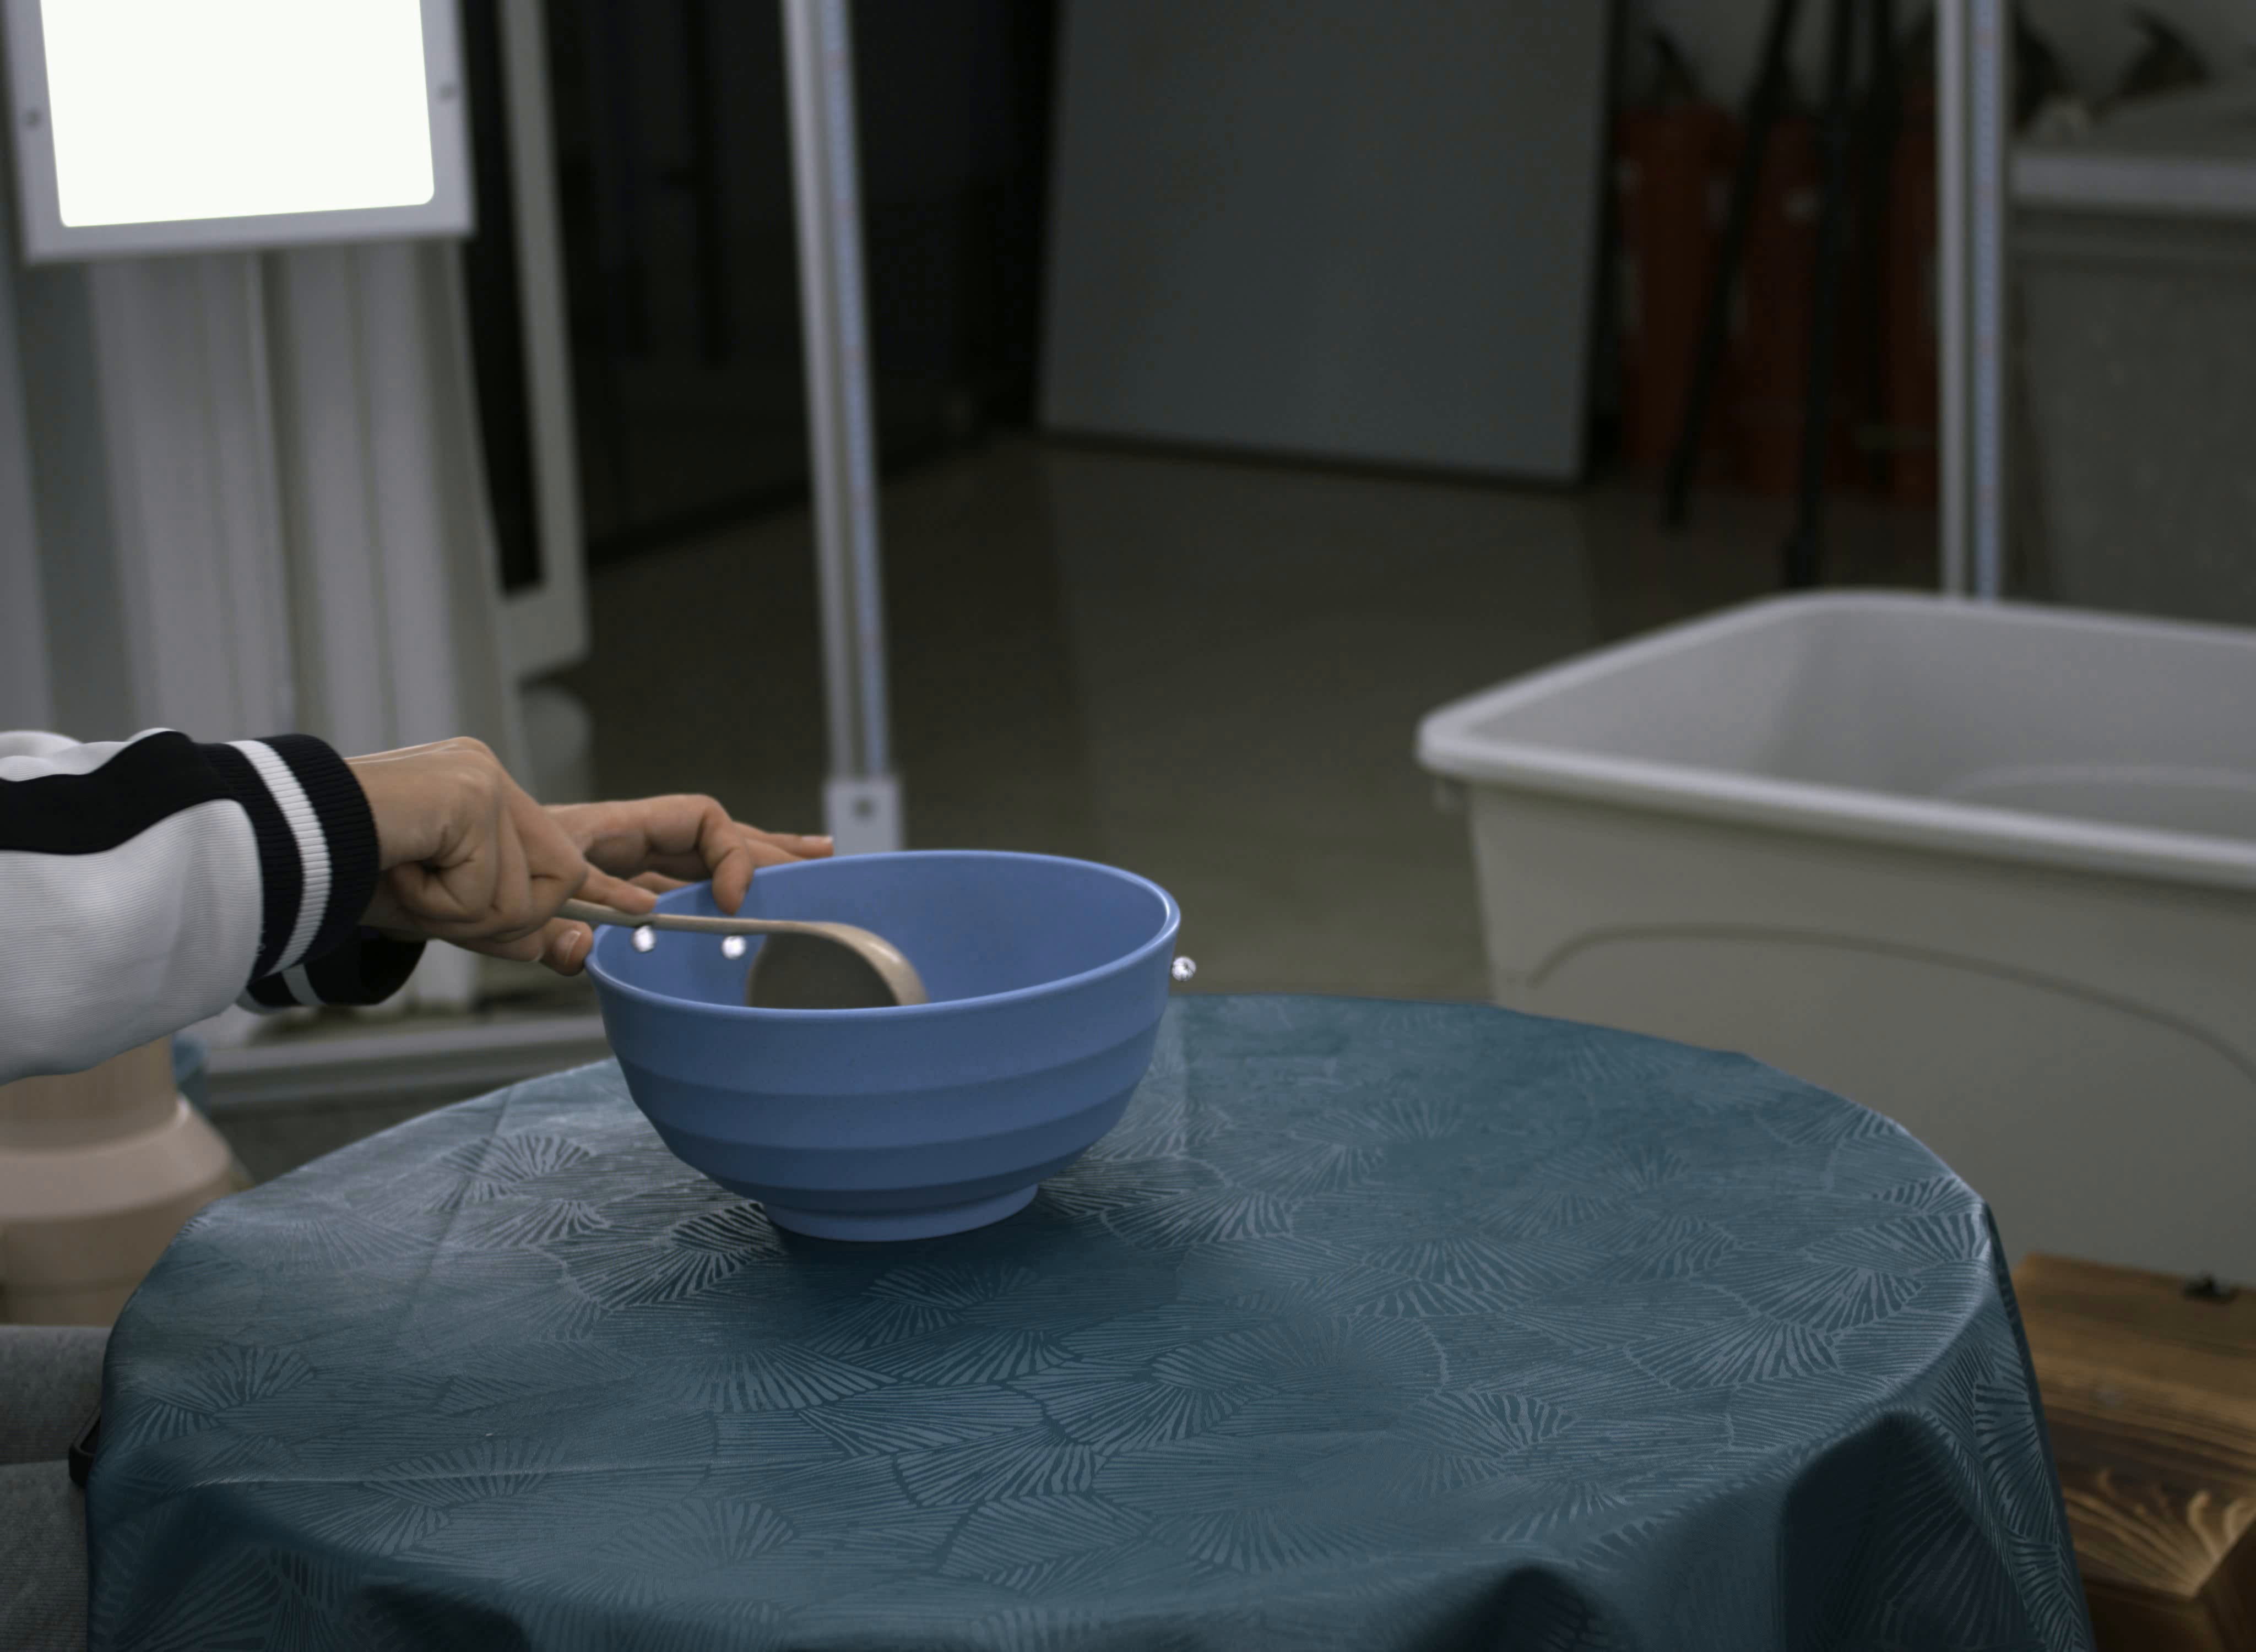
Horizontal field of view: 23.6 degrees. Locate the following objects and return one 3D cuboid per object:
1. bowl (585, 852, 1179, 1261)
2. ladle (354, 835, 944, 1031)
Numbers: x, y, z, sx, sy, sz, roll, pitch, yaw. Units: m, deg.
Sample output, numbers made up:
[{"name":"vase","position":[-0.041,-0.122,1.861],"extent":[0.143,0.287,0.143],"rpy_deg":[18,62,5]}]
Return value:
[{"name":"bowl","position":[-0.077,0.082,1.769],"extent":[0.194,0.096,0.197],"rpy_deg":[-5,15,0]},{"name":"ladle","position":[-0.156,0.056,1.728],"extent":[0.073,0.074,0.249],"rpy_deg":[3,-6,41]}]
